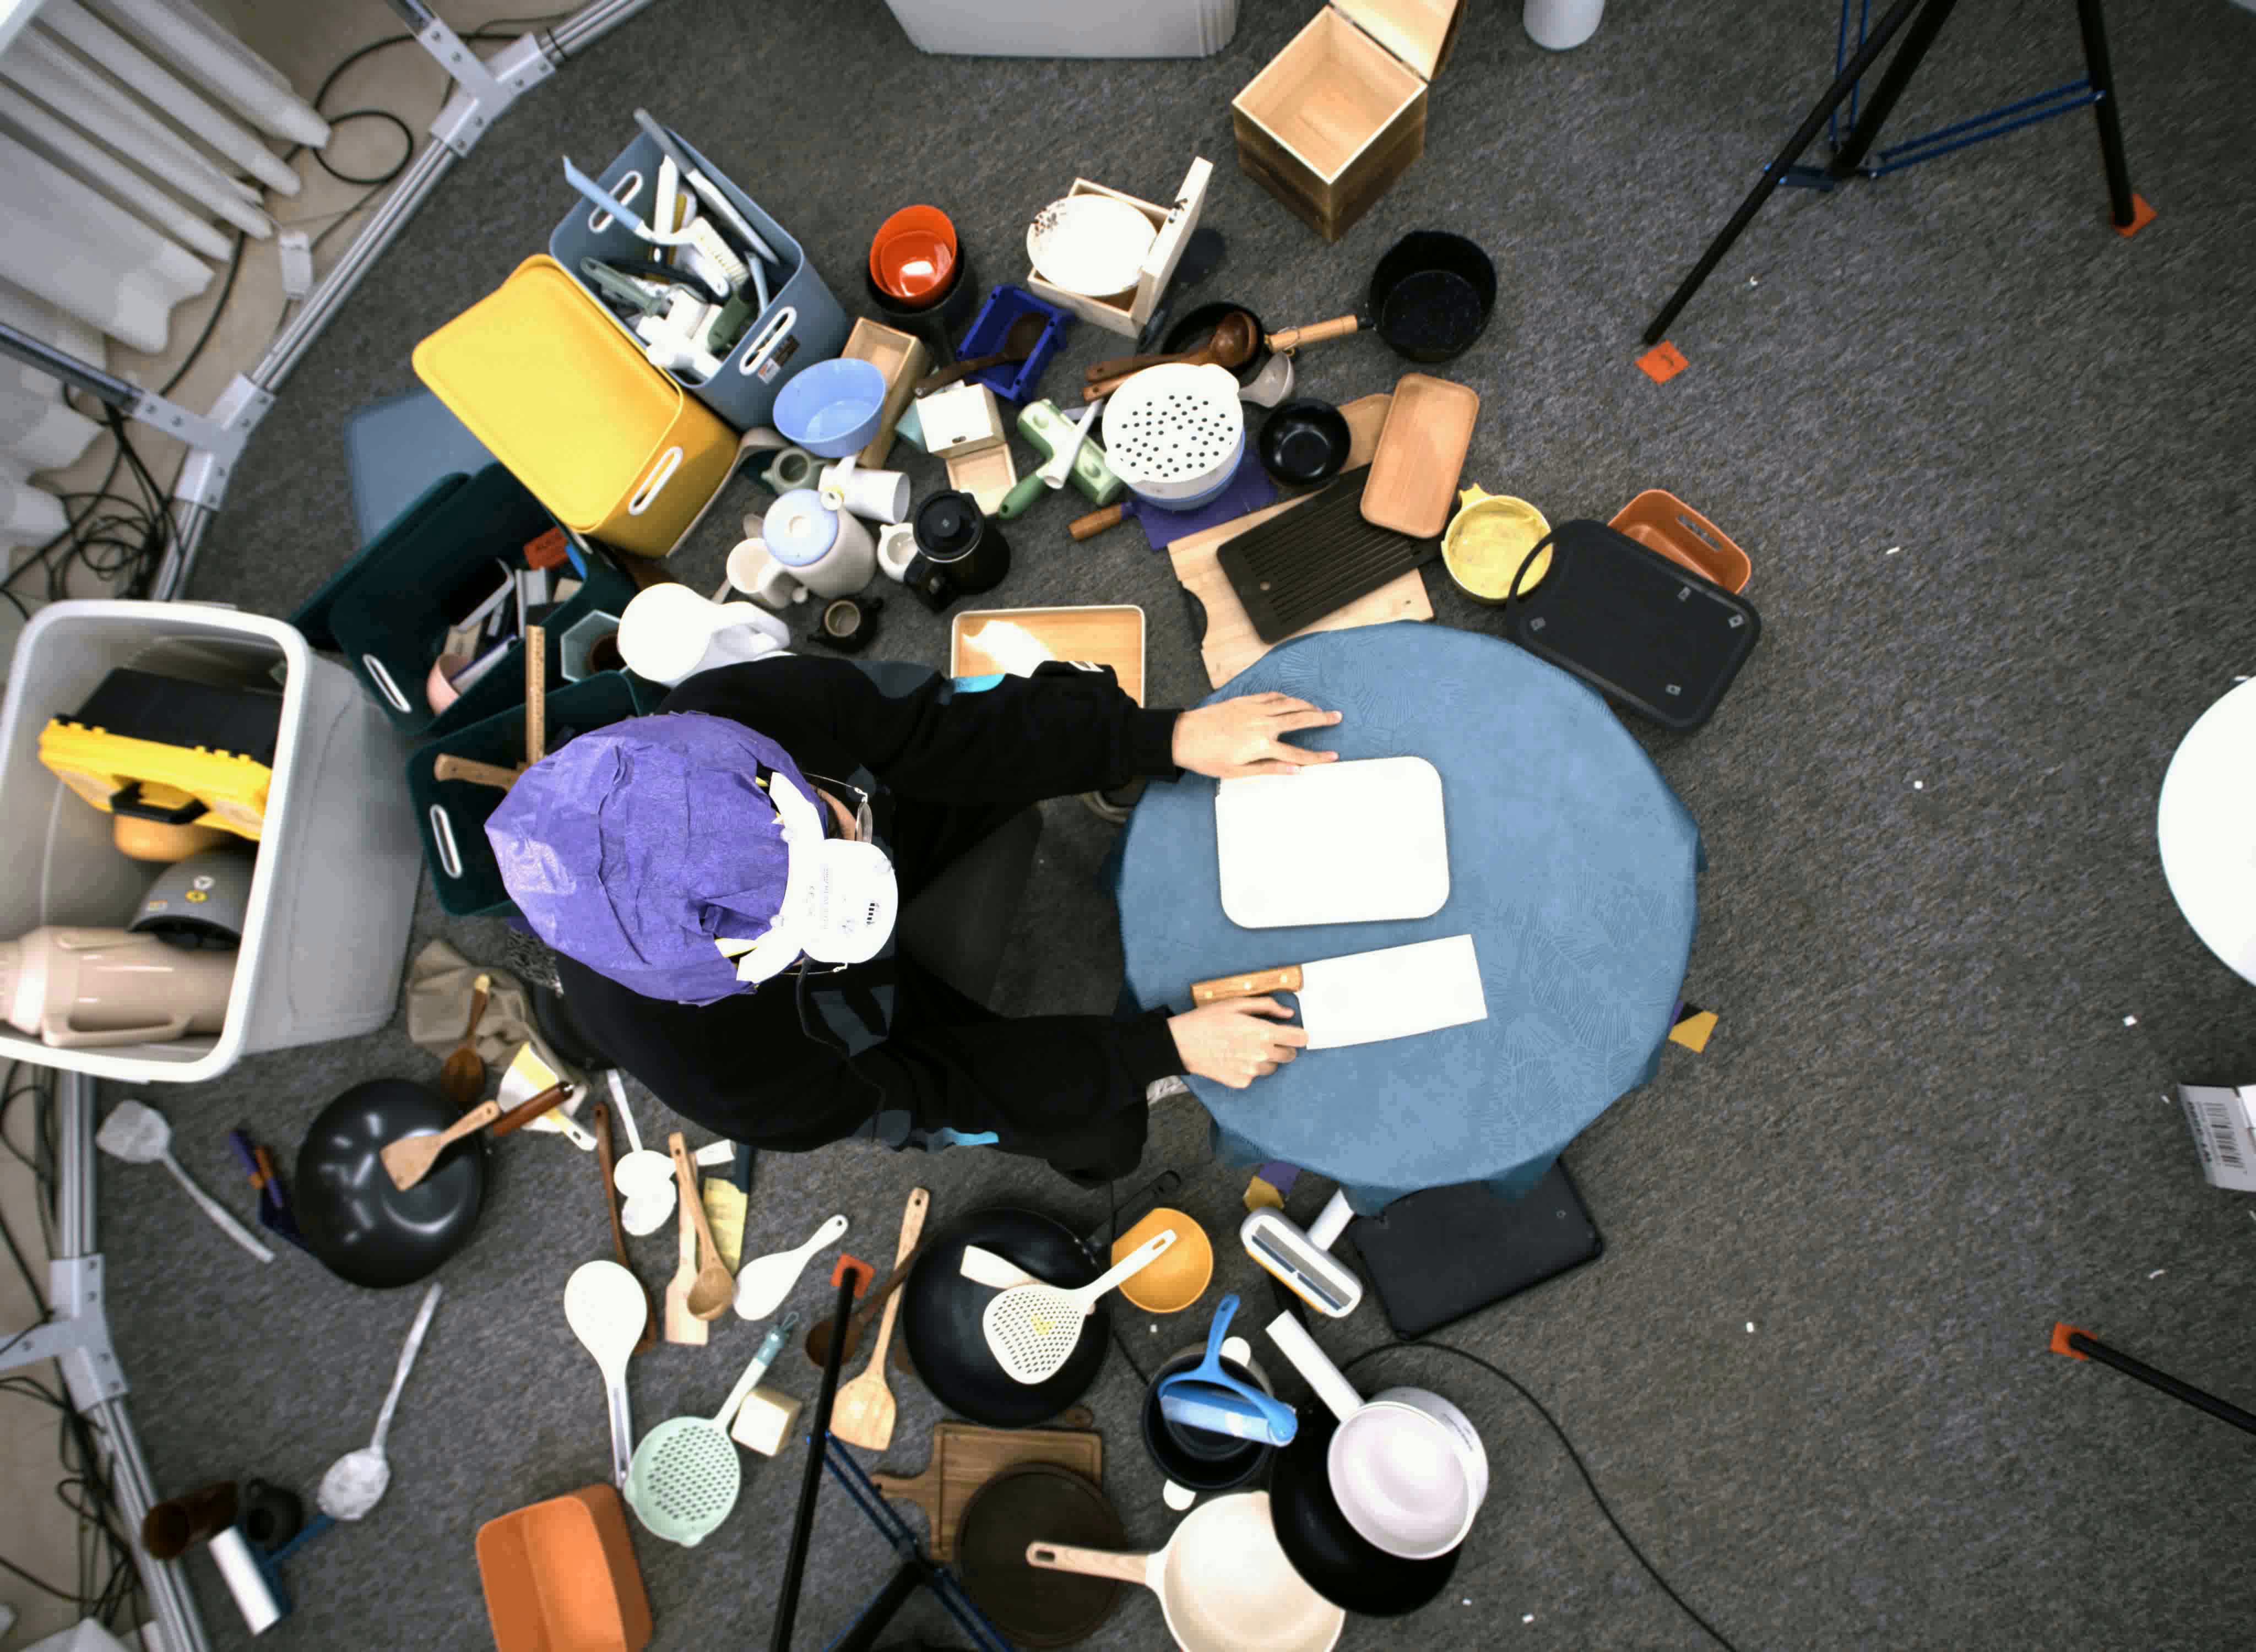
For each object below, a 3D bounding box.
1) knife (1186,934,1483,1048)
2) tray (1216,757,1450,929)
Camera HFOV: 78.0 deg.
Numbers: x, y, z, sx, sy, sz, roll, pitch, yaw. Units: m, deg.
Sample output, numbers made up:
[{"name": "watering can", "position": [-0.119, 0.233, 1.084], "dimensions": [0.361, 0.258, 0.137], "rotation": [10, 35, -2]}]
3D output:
[{"name": "knife", "position": [0.217, 0.182, 1.456], "dimensions": [0.307, 0.021, 0.092], "rotation": [-11, 86, 7]}, {"name": "tray", "position": [0.216, 0.017, 1.463], "dimensions": [0.241, 0.017, 0.170], "rotation": [-4, 87, 10]}]
